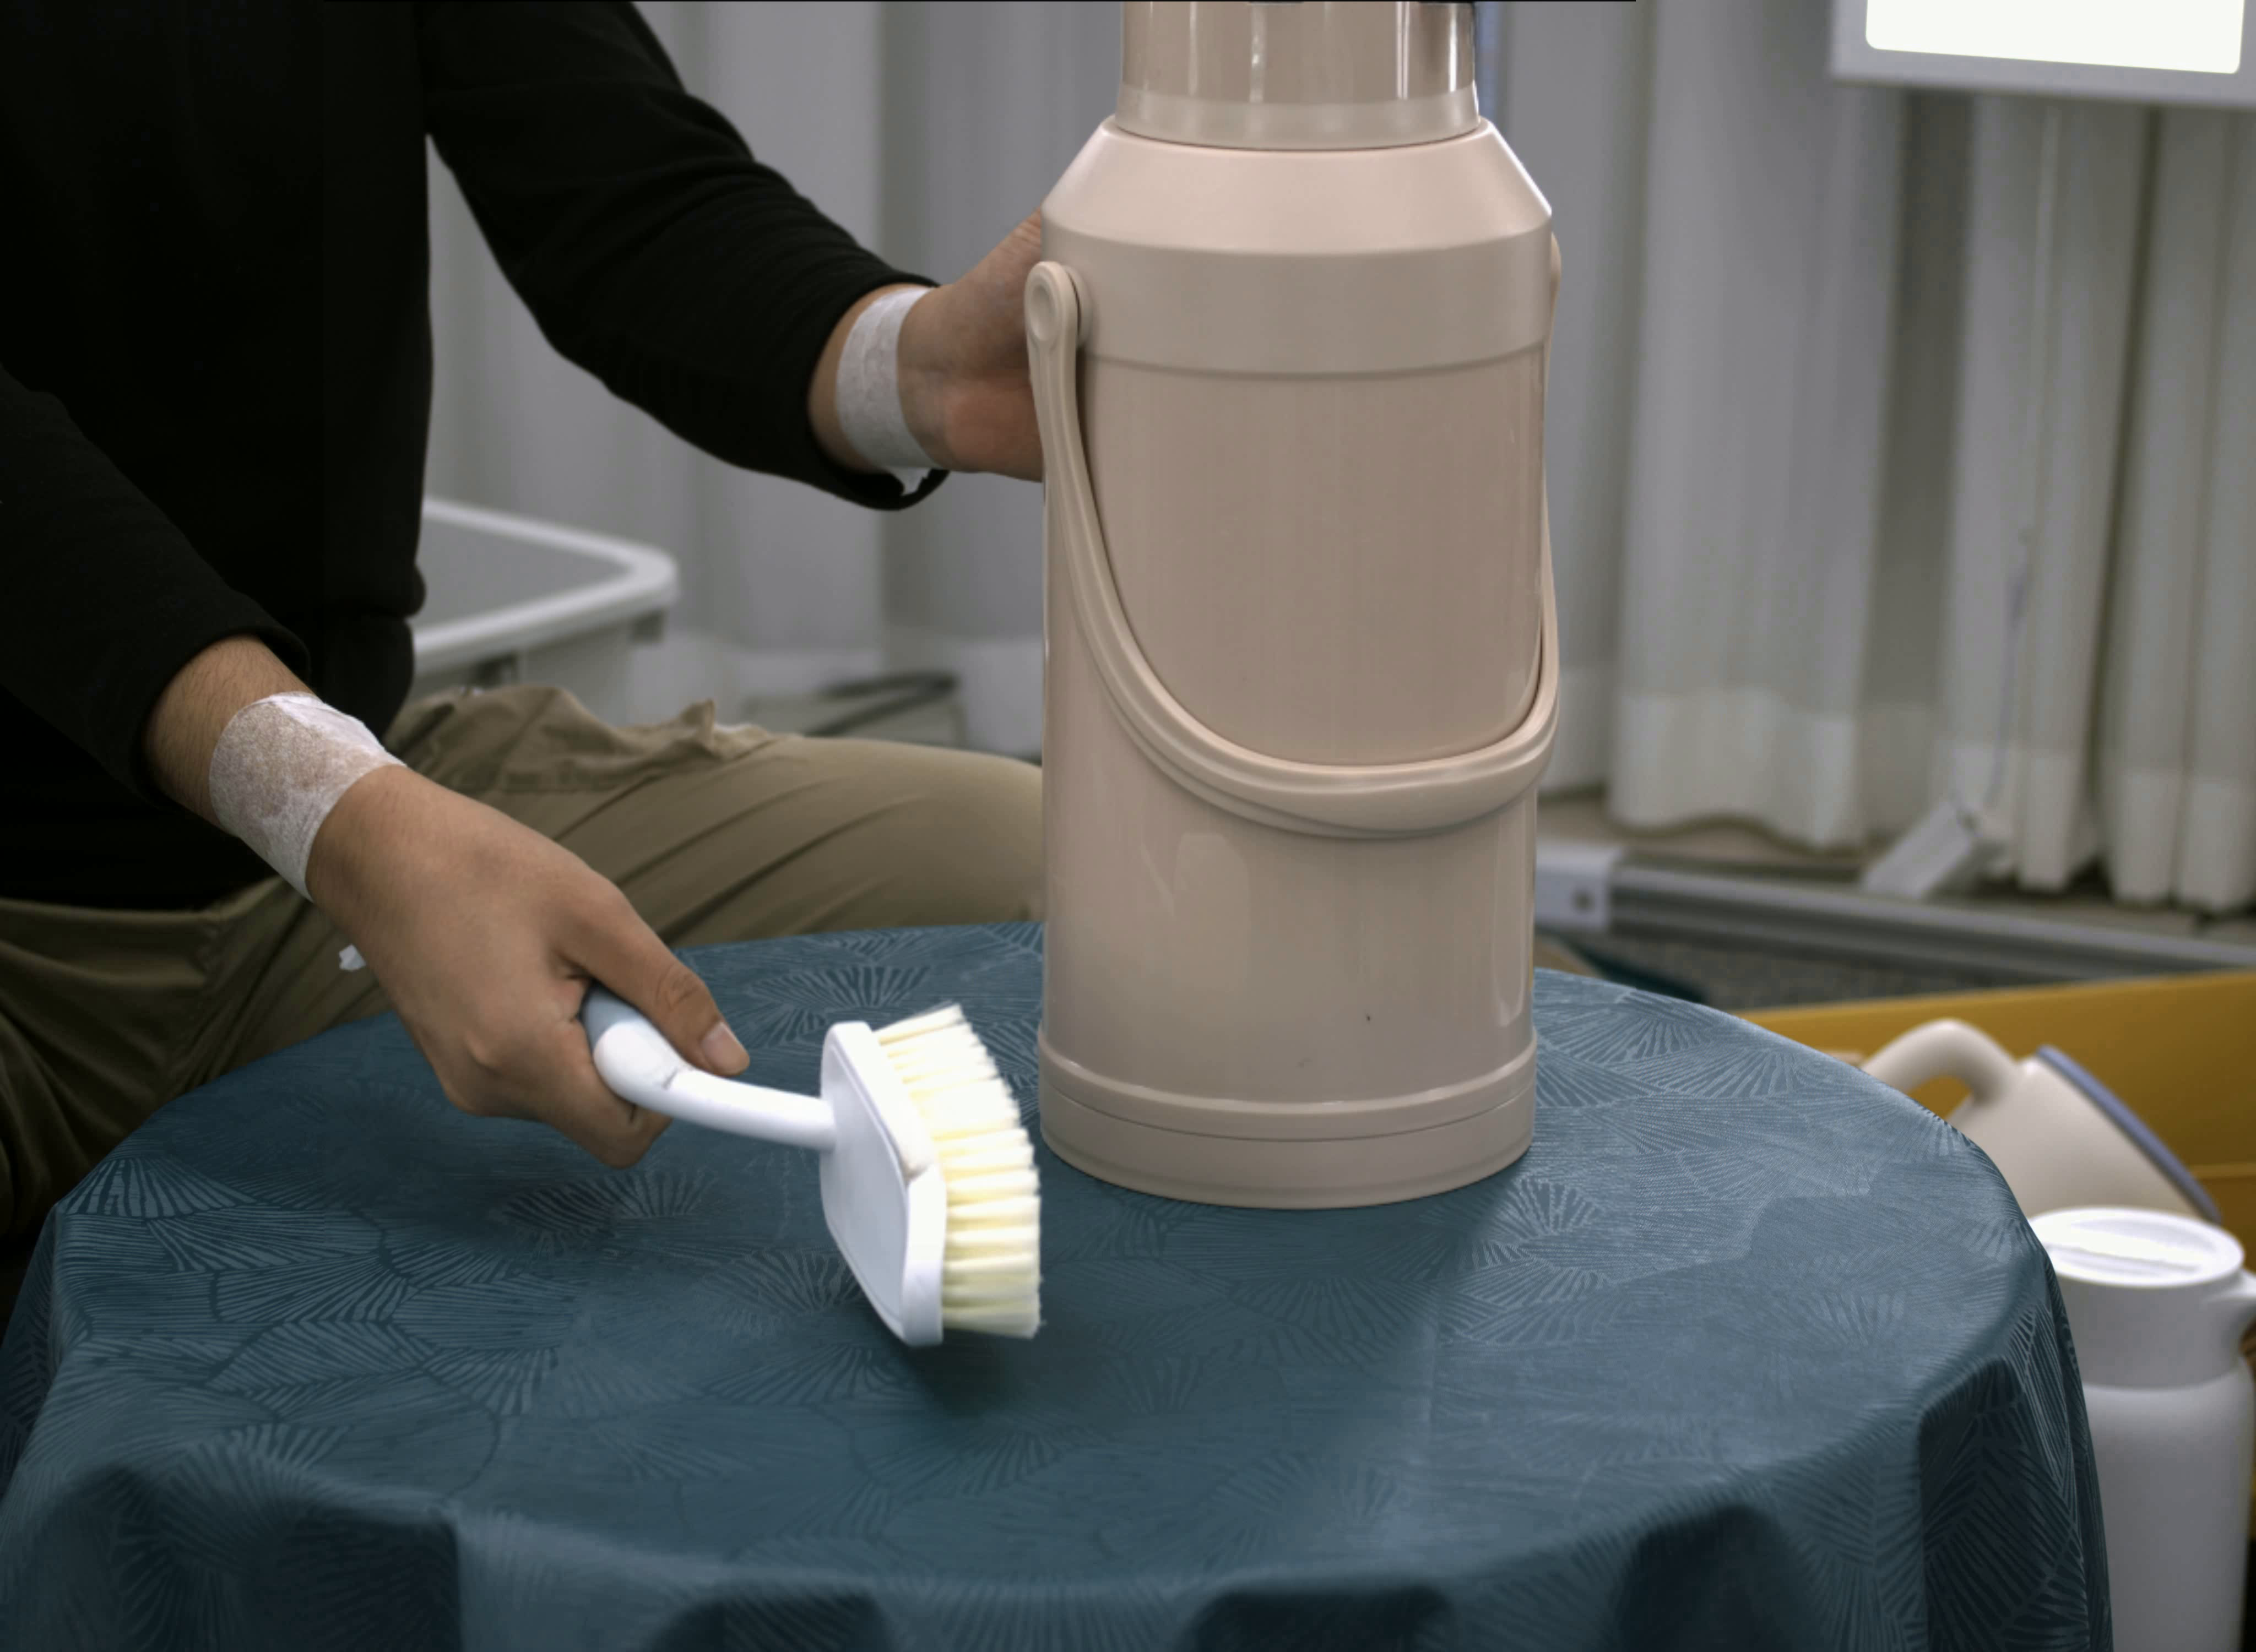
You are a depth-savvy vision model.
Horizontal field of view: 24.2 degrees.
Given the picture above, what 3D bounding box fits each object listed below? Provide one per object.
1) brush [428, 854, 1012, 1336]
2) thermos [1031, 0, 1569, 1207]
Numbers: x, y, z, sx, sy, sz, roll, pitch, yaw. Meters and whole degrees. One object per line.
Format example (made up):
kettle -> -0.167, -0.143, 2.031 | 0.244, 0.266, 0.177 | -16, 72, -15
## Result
brush -> -0.106, 0.064, 1.565 | 0.085, 0.083, 0.321 | 34, 1, -37
thermos -> 0.048, -0.099, 1.638 | 0.176, 0.410, 0.204 | -10, 19, -27
